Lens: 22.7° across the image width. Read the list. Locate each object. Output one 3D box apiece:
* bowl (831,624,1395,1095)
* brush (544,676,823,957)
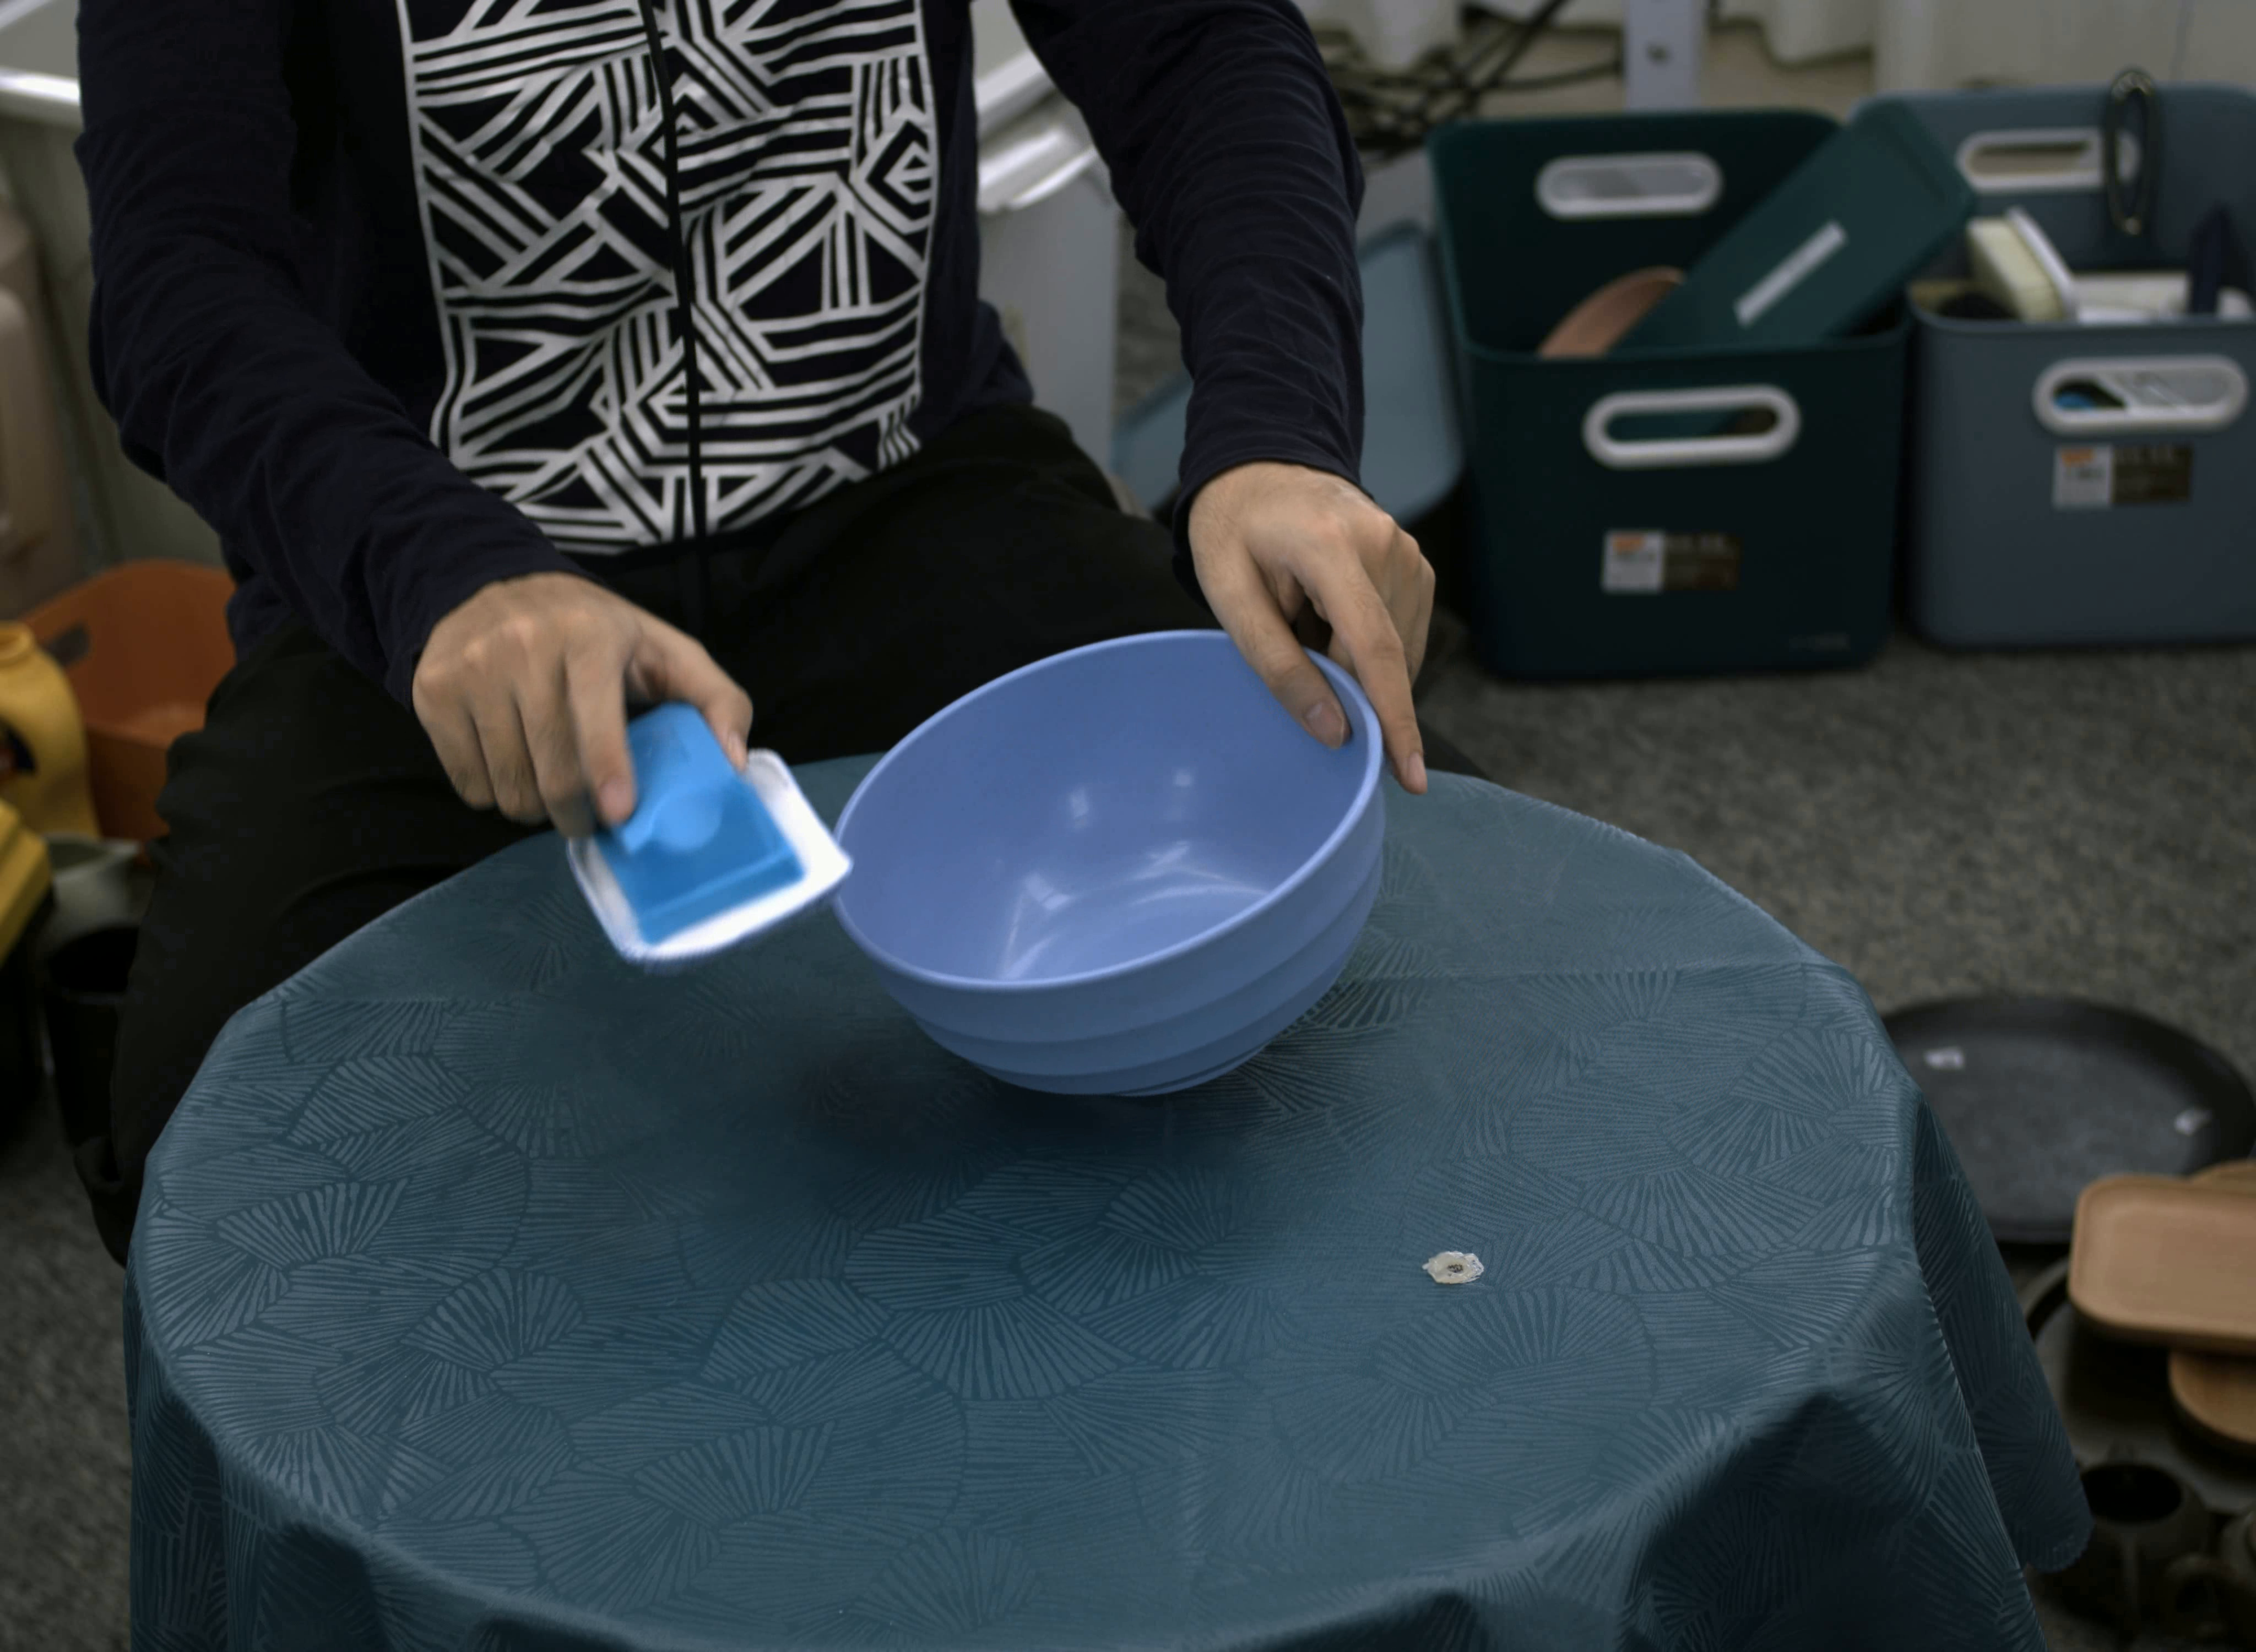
[{"bbox_3d":[0.005,0.027,1.918,0.195,0.094,0.200,-11,34,8],"label":"bowl"},{"bbox_3d":[-0.151,-0.006,1.854,0.084,0.055,0.145,-20,25,-5],"label":"brush"}]
